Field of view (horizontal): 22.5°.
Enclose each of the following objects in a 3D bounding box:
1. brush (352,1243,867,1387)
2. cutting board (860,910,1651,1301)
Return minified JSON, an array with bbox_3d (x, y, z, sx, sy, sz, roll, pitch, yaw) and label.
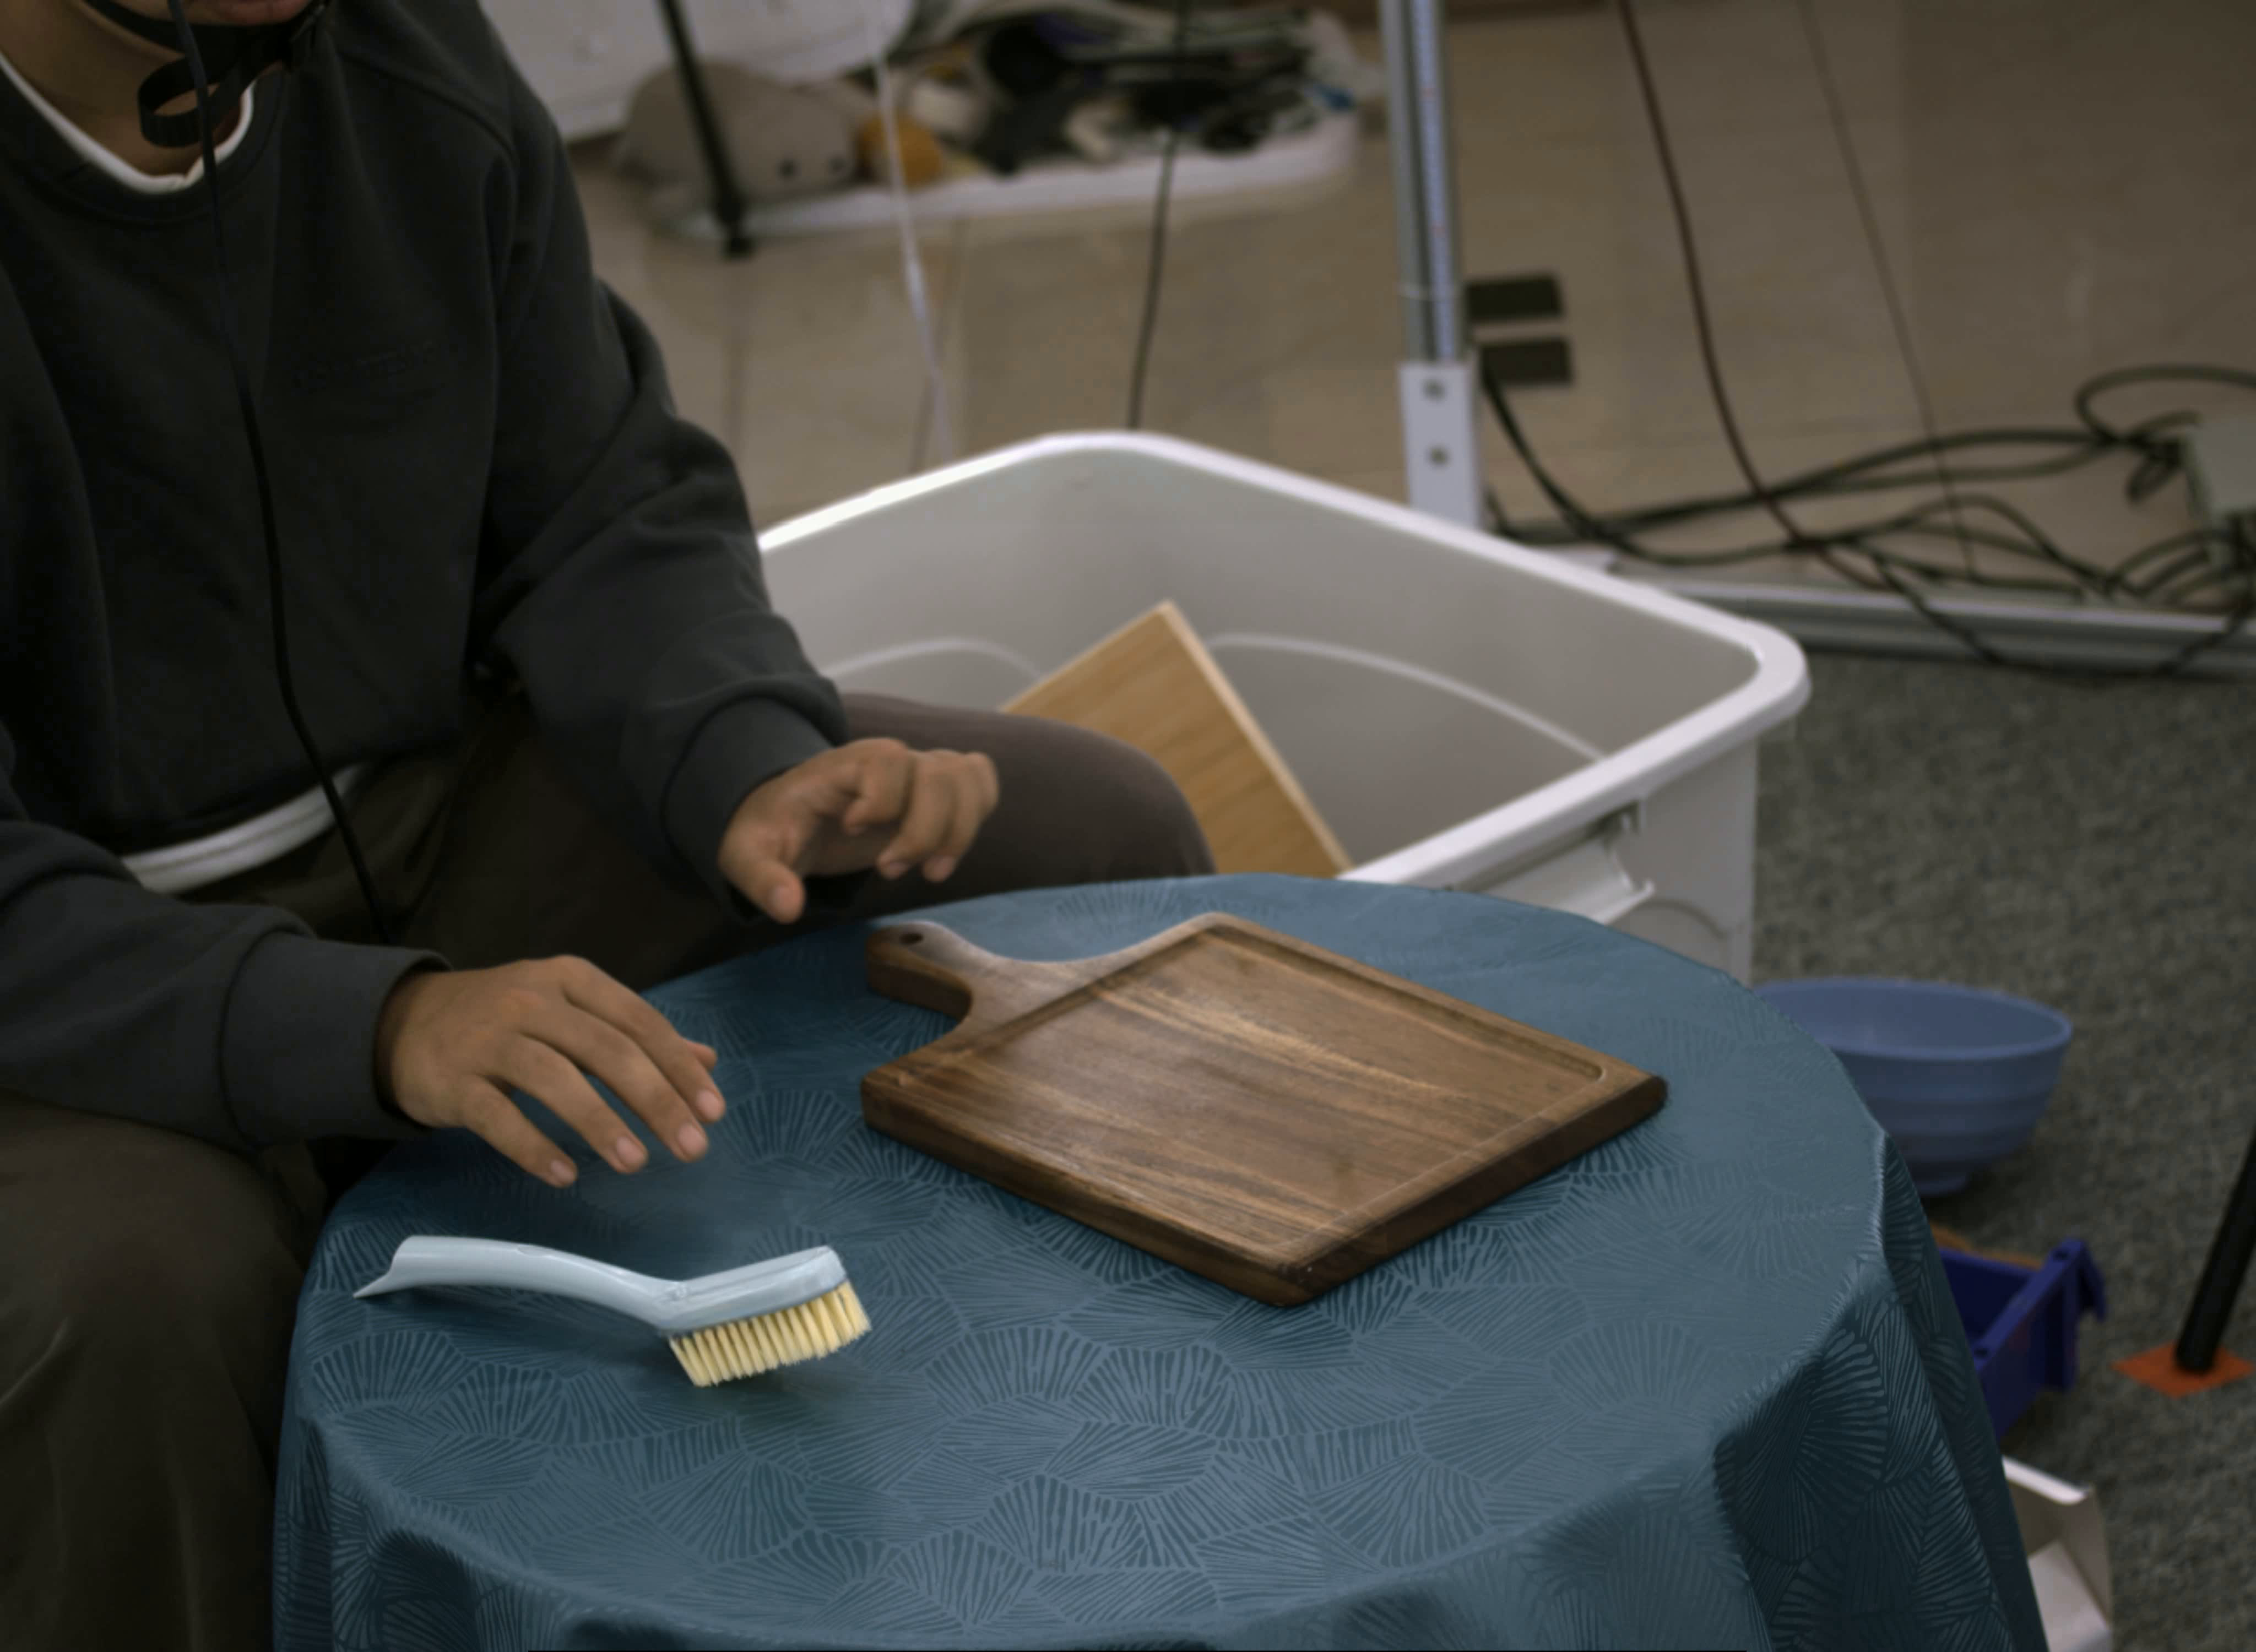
[{"bbox_3d":[-0.193,0.176,2.076,0.228,0.050,0.037,-1,18,32],"label":"brush"},{"bbox_3d":[0.015,0.091,2.224,0.199,0.023,0.349,-25,30,-35],"label":"cutting board"}]
